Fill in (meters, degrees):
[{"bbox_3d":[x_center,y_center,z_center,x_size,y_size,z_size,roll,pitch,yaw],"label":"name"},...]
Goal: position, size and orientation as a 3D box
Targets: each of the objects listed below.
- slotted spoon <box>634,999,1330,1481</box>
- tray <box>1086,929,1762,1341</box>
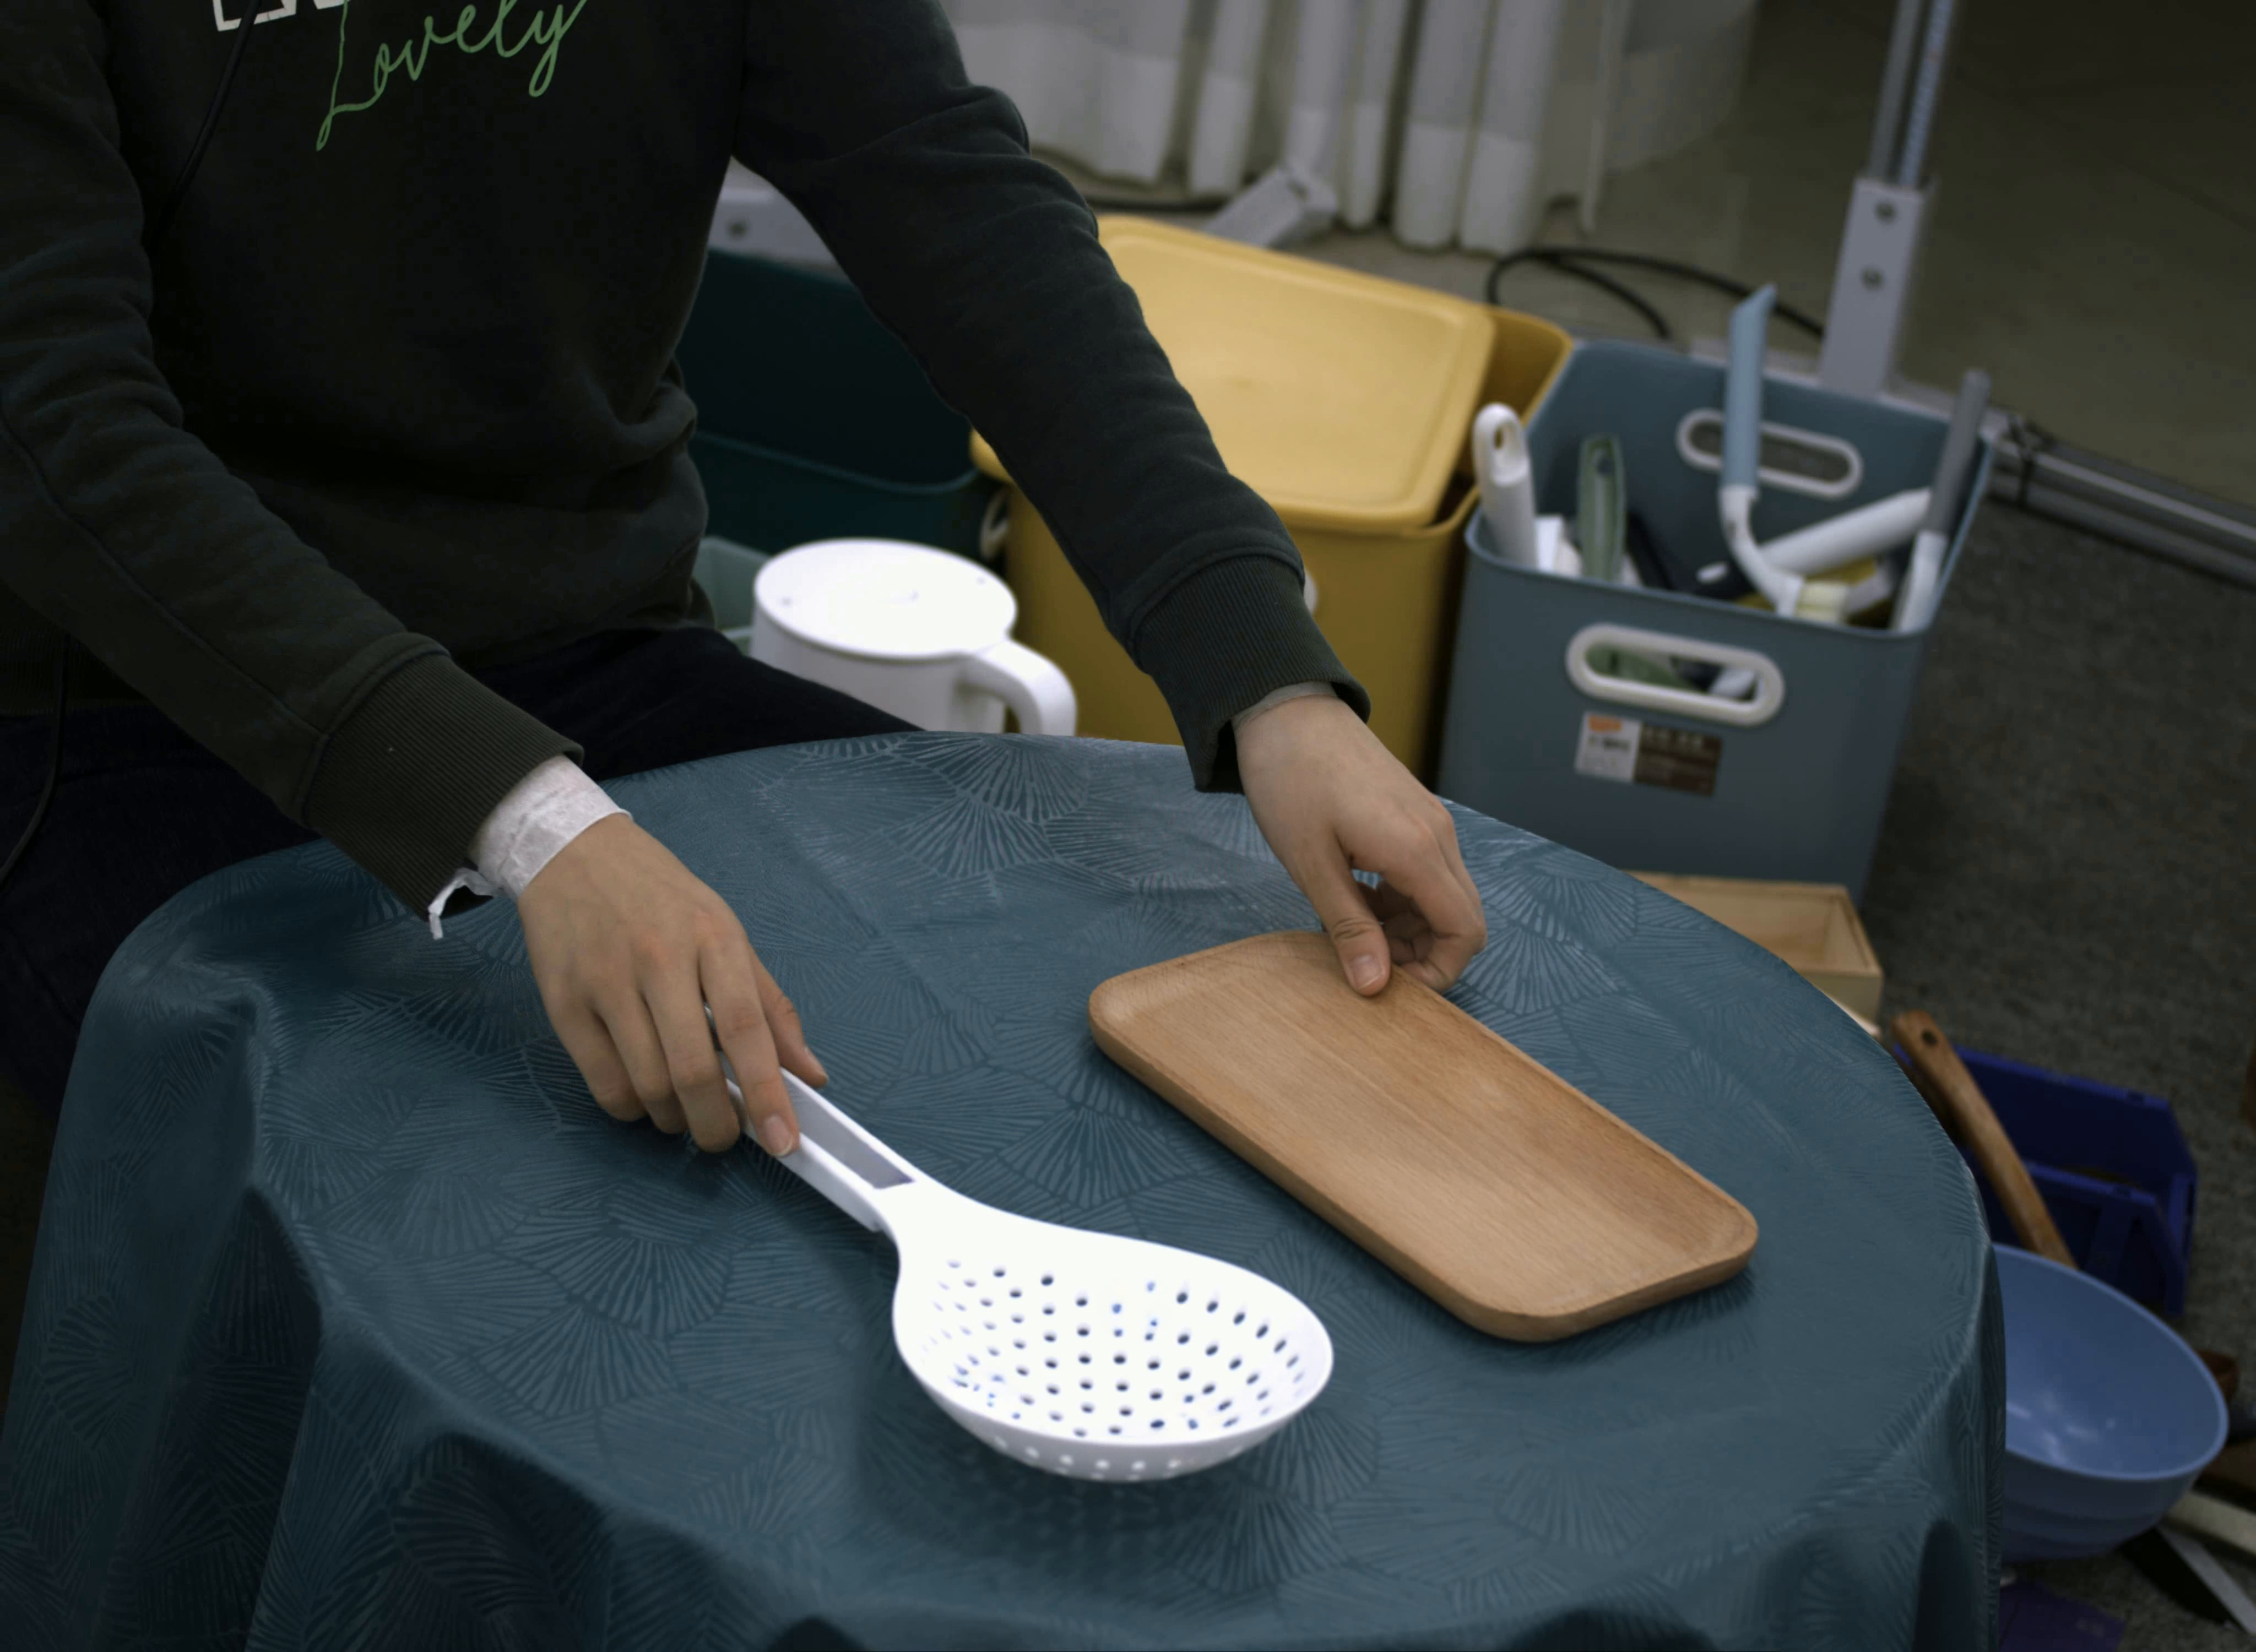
[{"bbox_3d":[-0.066,0.128,1.727,0.135,0.045,0.353,-9,30,-33],"label":"slotted spoon"},{"bbox_3d":[0.099,0.104,1.842,0.130,0.023,0.253,-12,31,-36],"label":"tray"}]
